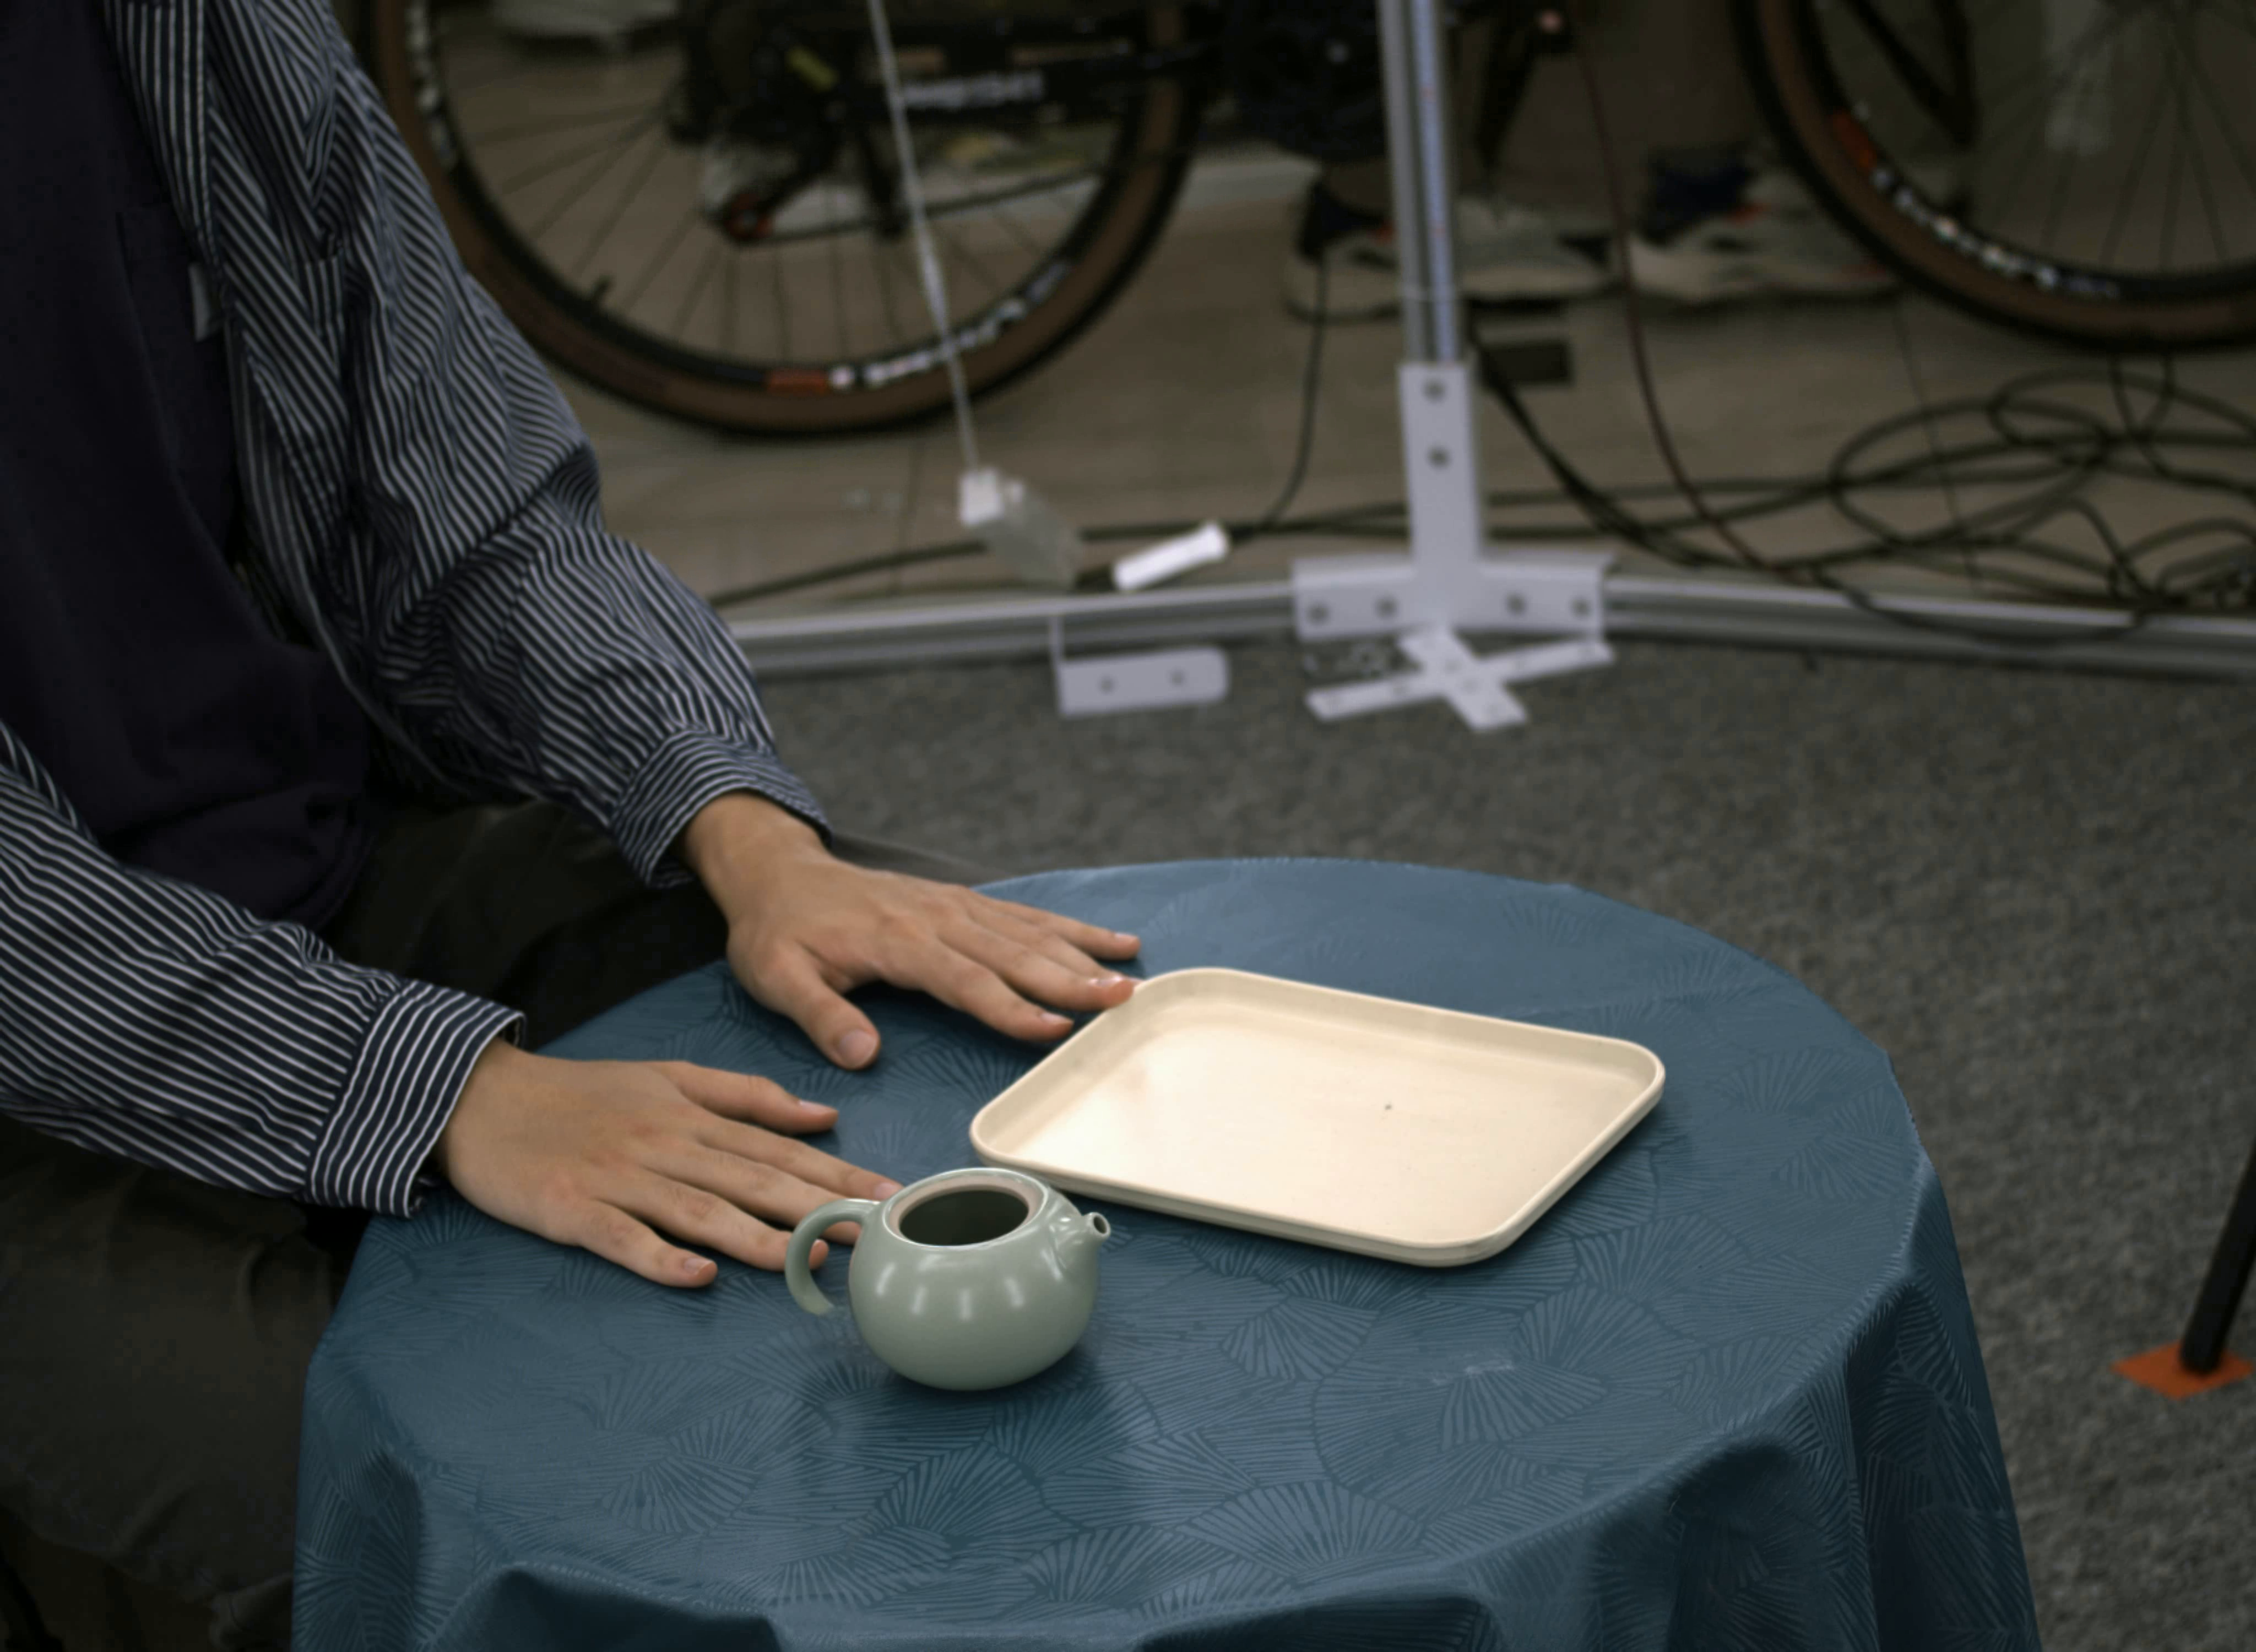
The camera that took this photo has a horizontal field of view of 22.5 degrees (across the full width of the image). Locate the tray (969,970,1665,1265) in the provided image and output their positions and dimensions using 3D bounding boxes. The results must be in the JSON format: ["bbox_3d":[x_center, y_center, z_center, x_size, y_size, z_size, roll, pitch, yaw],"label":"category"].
[{"bbox_3d":[0.072,0.111,2.172,0.238,0.018,0.169,10,29,32],"label":"tray"}]

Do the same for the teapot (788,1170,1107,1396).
[{"bbox_3d":[-0.065,0.164,2.044,0.128,0.062,0.090,5,30,23],"label":"teapot"}]
